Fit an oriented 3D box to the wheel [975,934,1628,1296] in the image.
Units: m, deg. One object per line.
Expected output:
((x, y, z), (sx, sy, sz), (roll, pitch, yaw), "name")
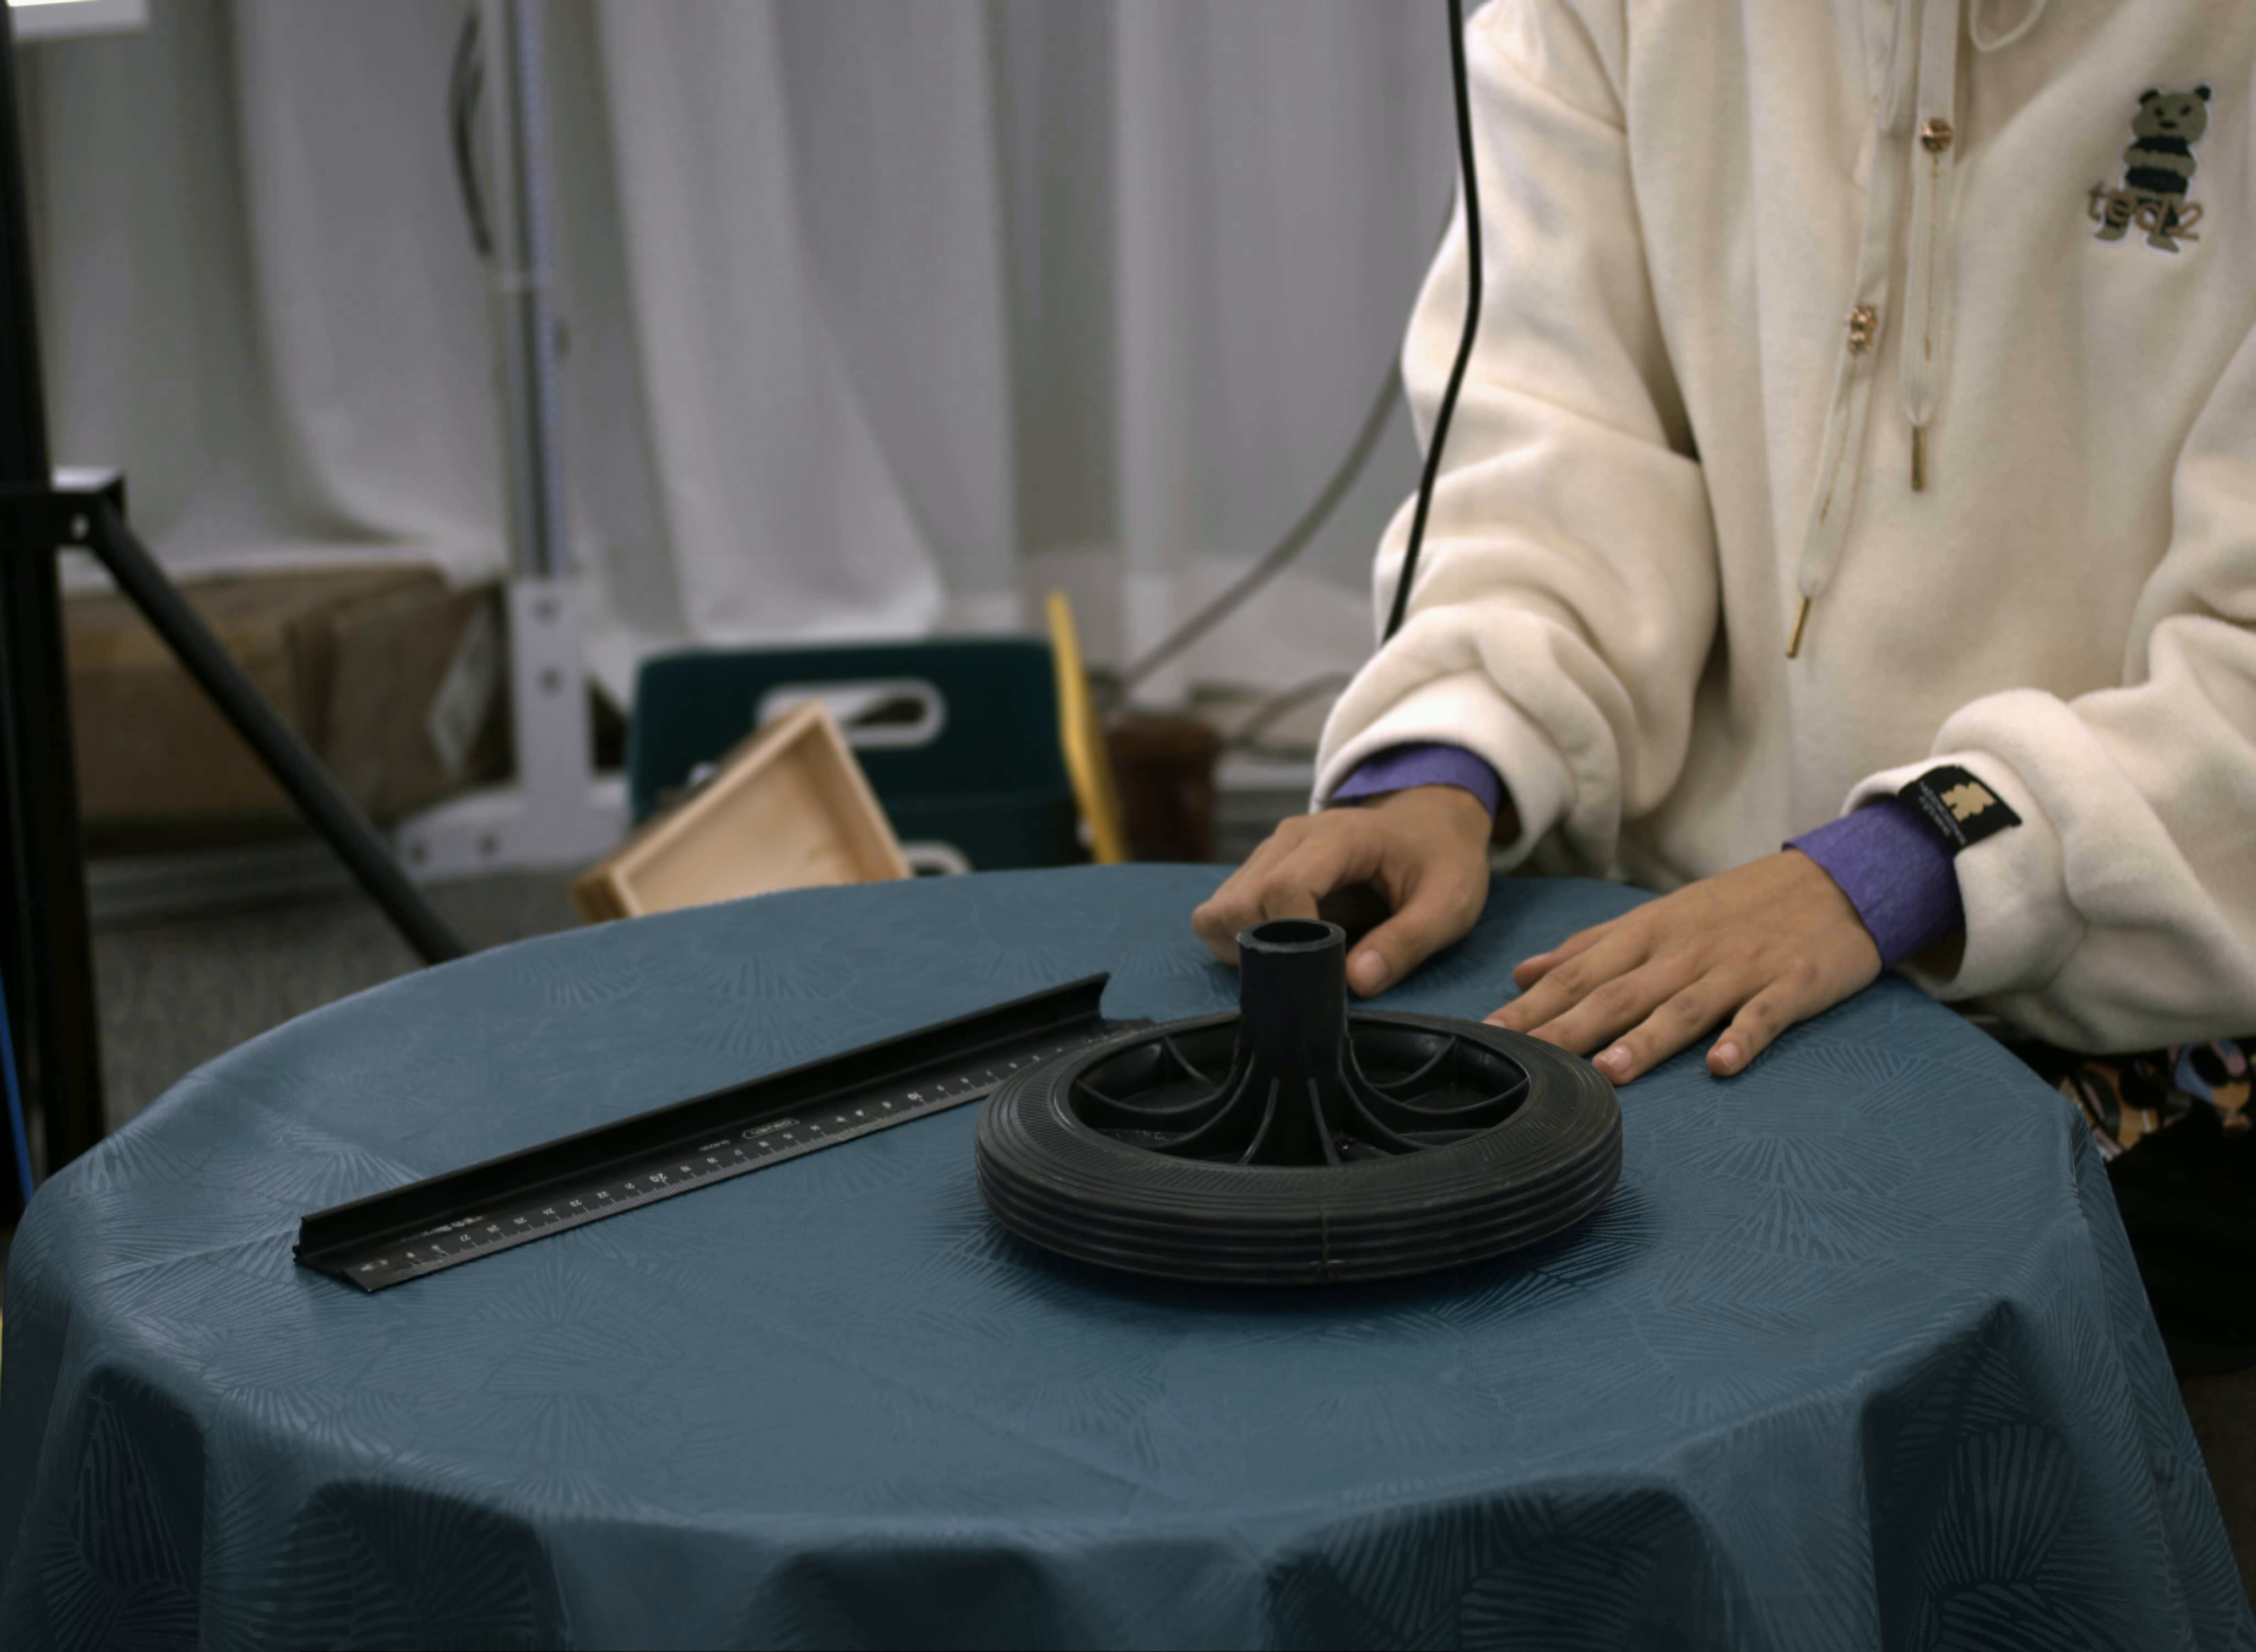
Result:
((0.050, 0.074, 1.531), (0.193, 0.079, 0.184), (8, 19, 34), "wheel")

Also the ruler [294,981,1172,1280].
((-0.113, 0.090, 1.612), (0.305, 0.017, 0.040), (-15, 23, -38), "ruler")
